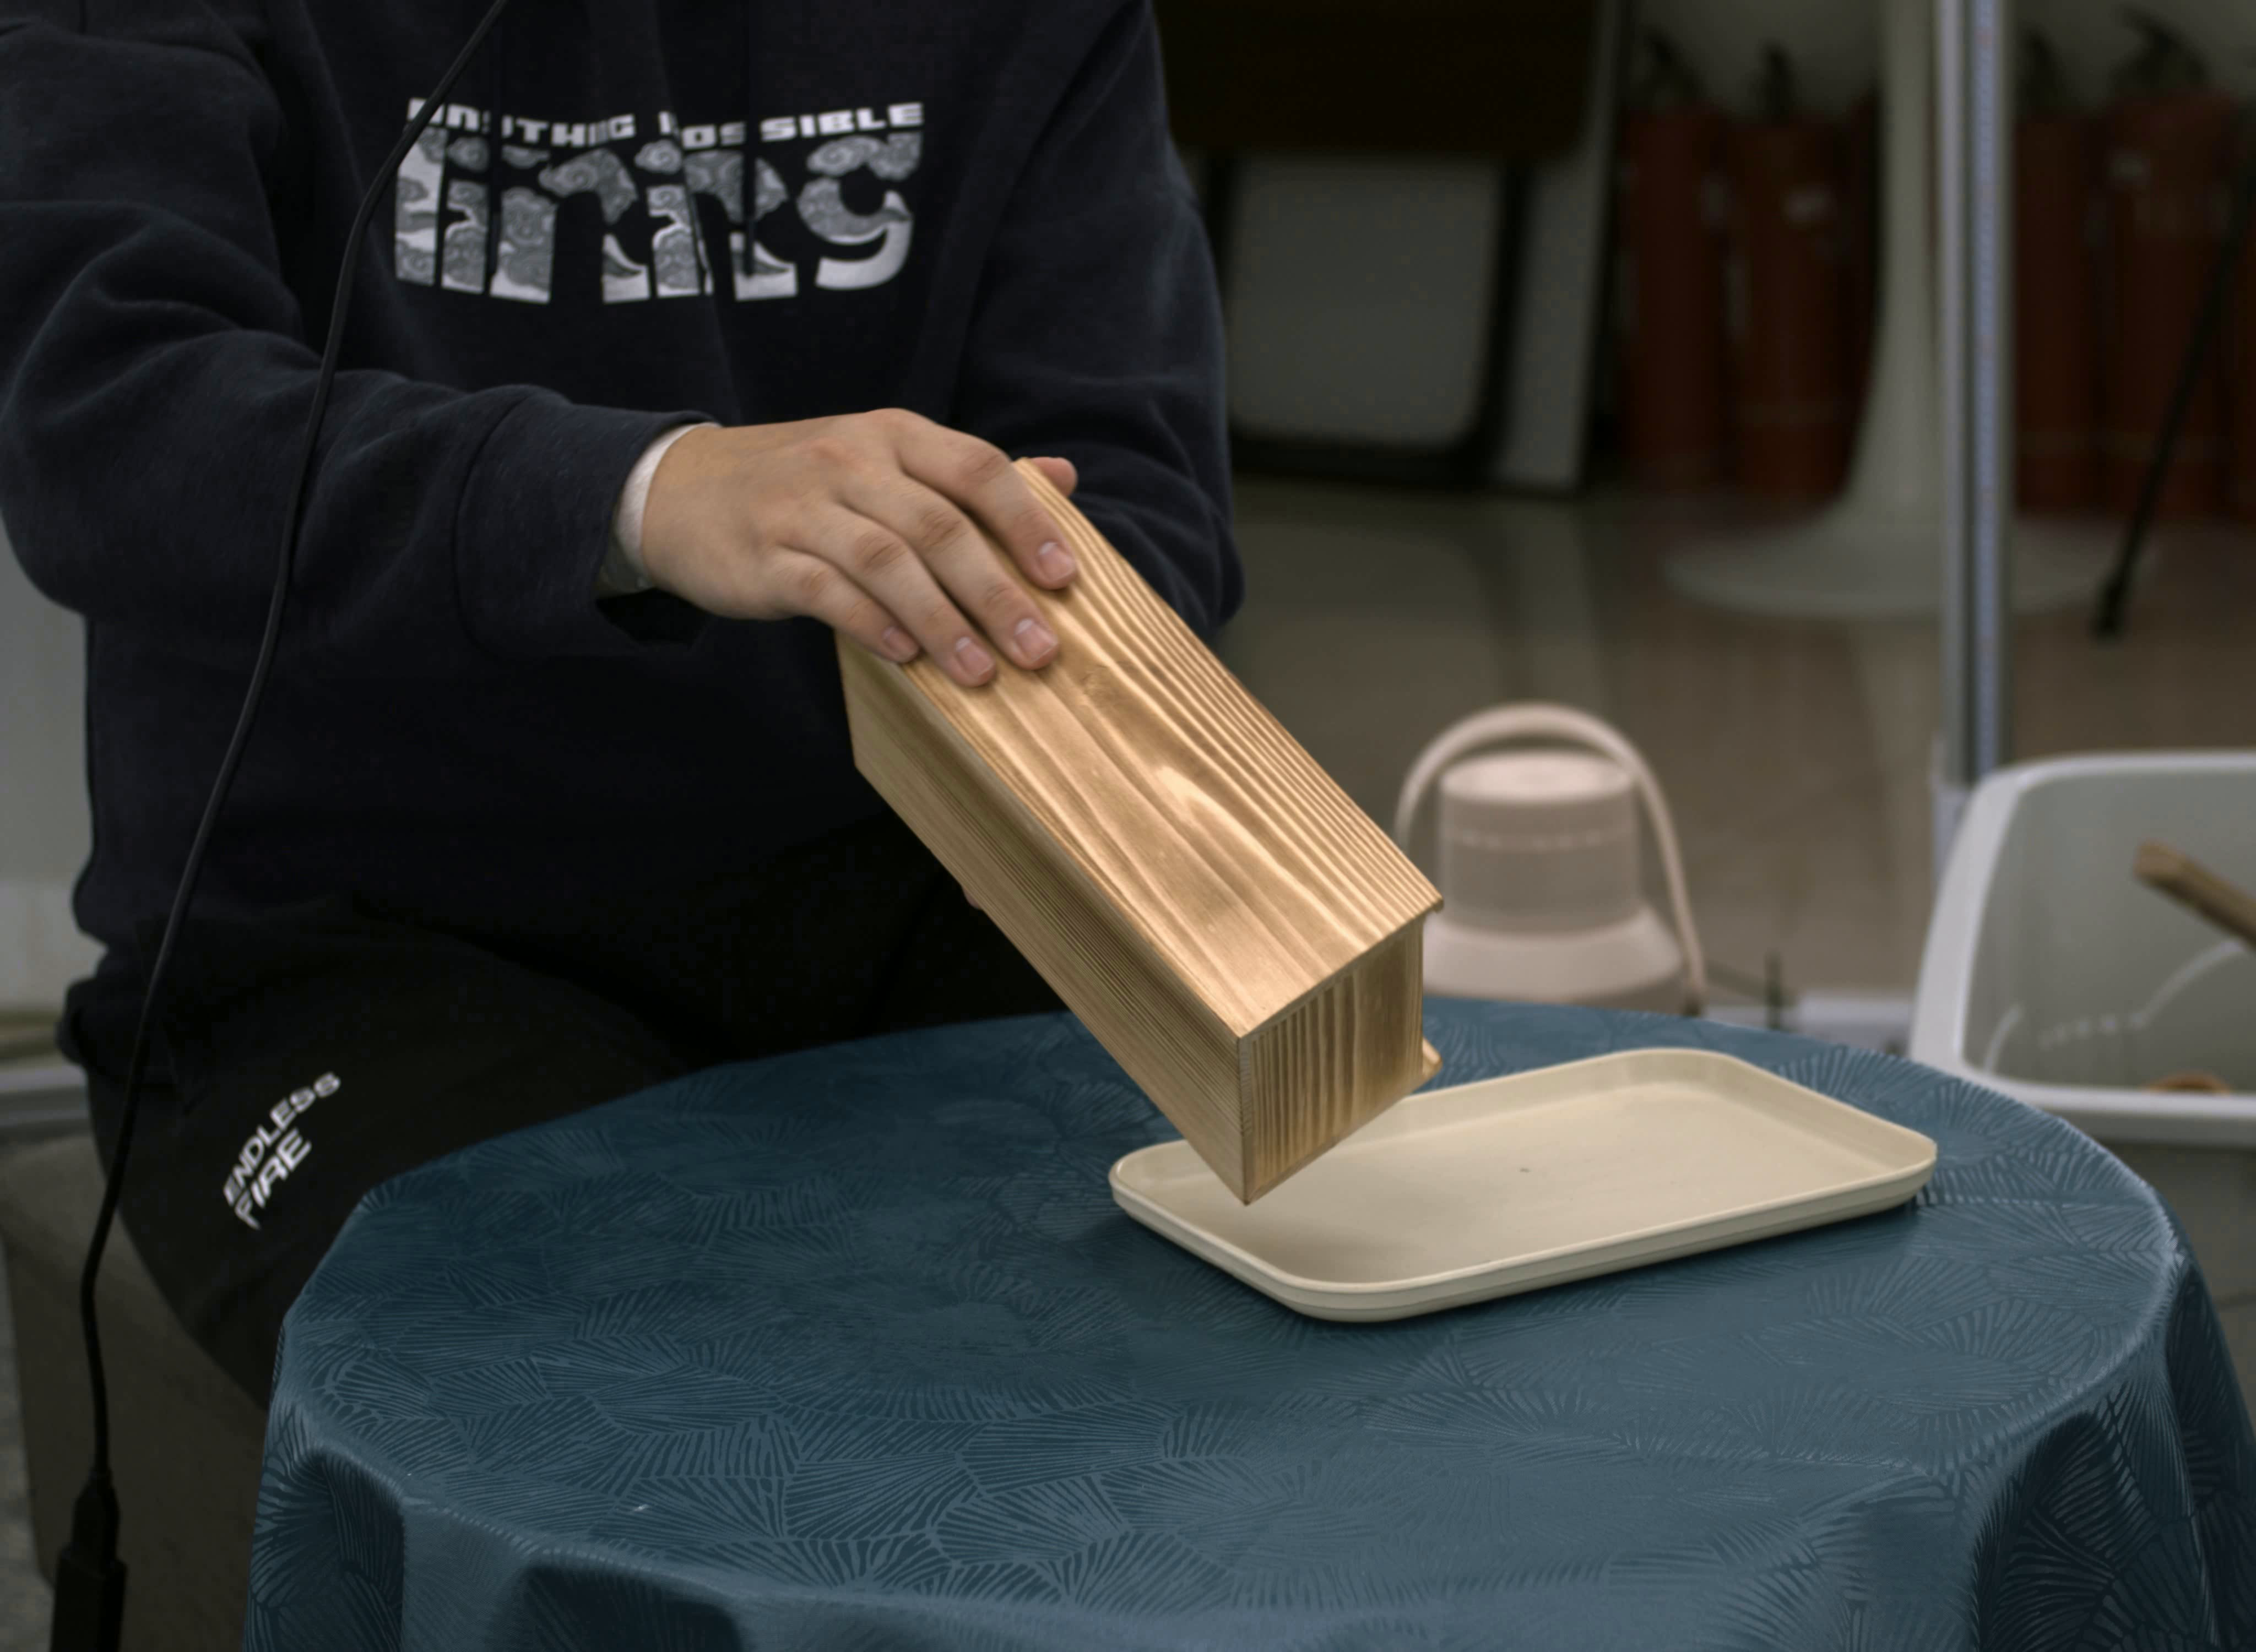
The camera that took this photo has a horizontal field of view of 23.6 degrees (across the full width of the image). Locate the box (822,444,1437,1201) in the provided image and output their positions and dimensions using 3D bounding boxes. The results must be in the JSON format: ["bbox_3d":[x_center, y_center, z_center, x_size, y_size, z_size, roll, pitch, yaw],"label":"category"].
[{"bbox_3d":[0.001,-0.002,1.676,0.079,0.107,0.213,-34,61,-16],"label":"box"}]

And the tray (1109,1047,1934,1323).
[{"bbox_3d":[0.126,0.115,1.729,0.234,0.017,0.173,-11,15,-24],"label":"tray"}]
